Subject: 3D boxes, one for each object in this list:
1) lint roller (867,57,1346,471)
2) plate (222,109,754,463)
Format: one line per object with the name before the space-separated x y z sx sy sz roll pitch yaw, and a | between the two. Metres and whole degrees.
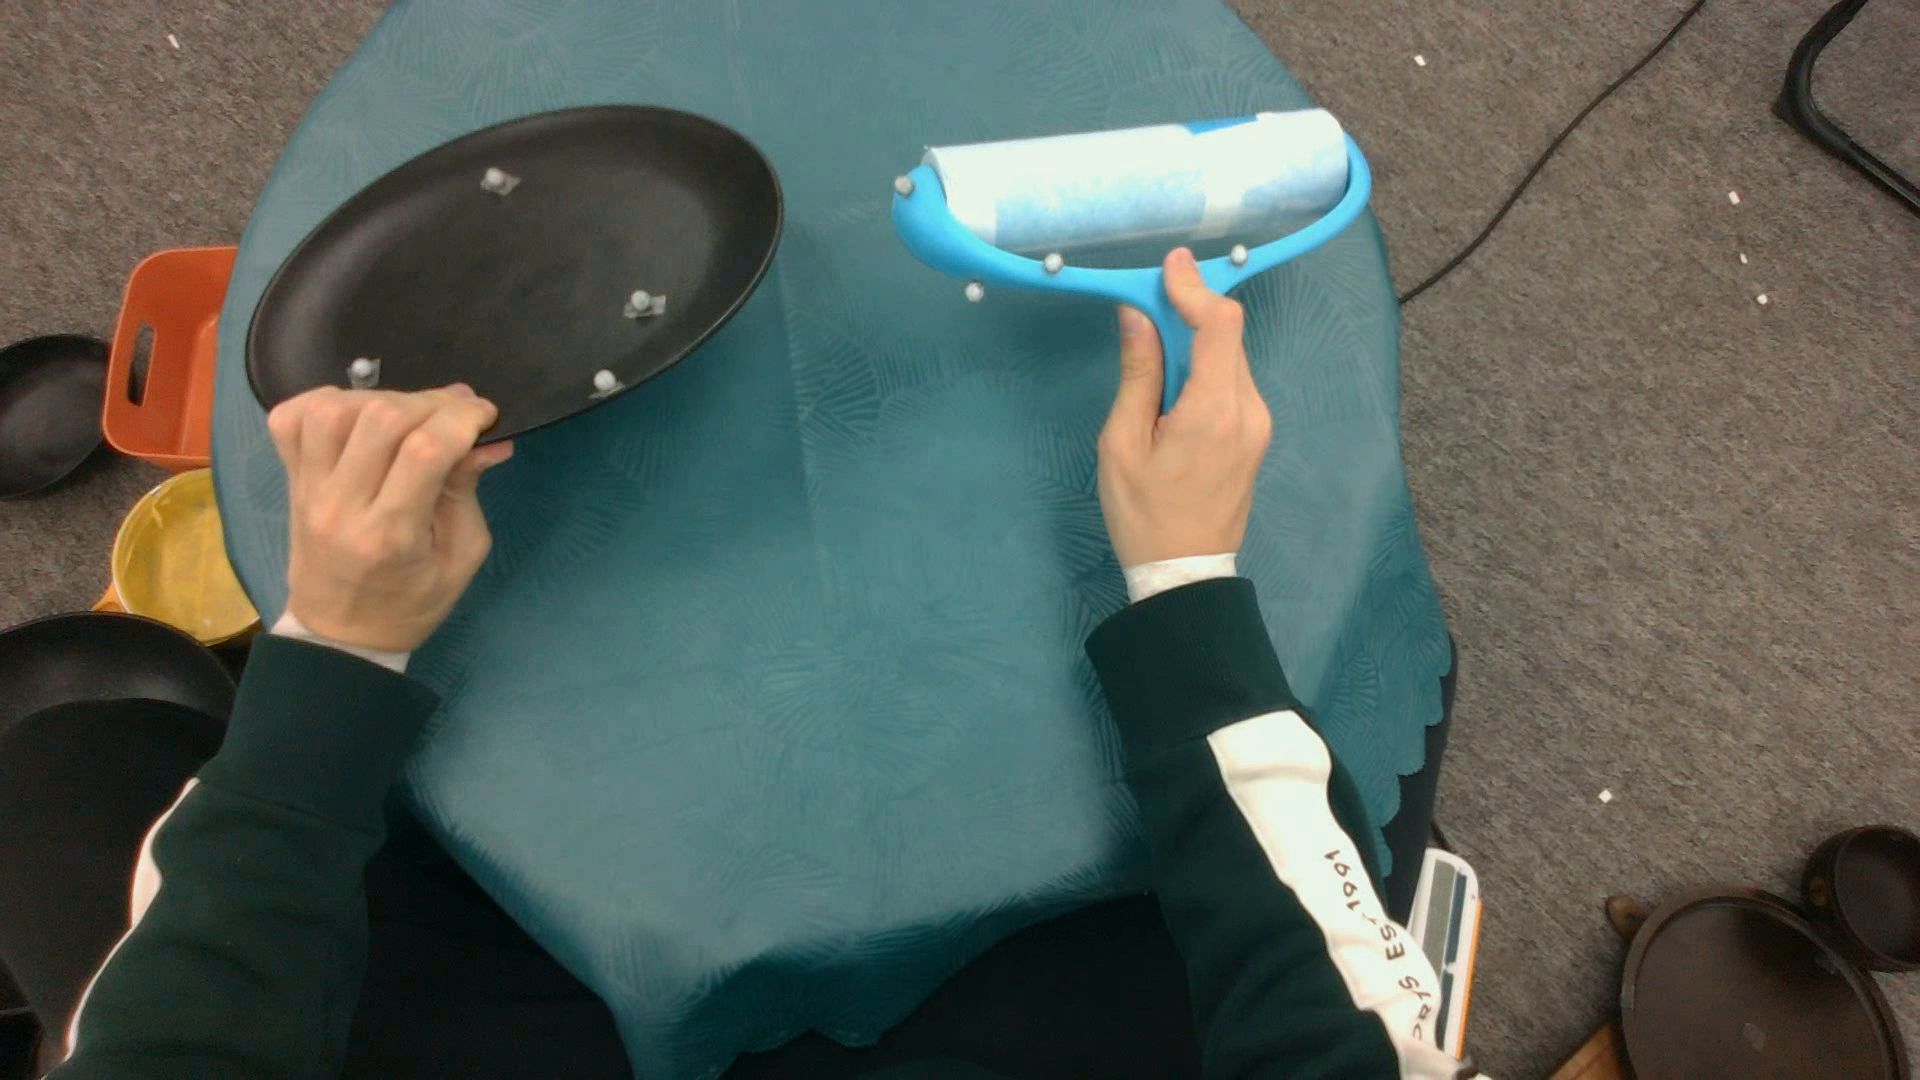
lint roller | 0.085 -0.121 0.640 0.229 0.068 0.180 -17 95 -13
plate | -0.208 -0.118 0.622 0.244 0.023 0.245 -7 48 8
